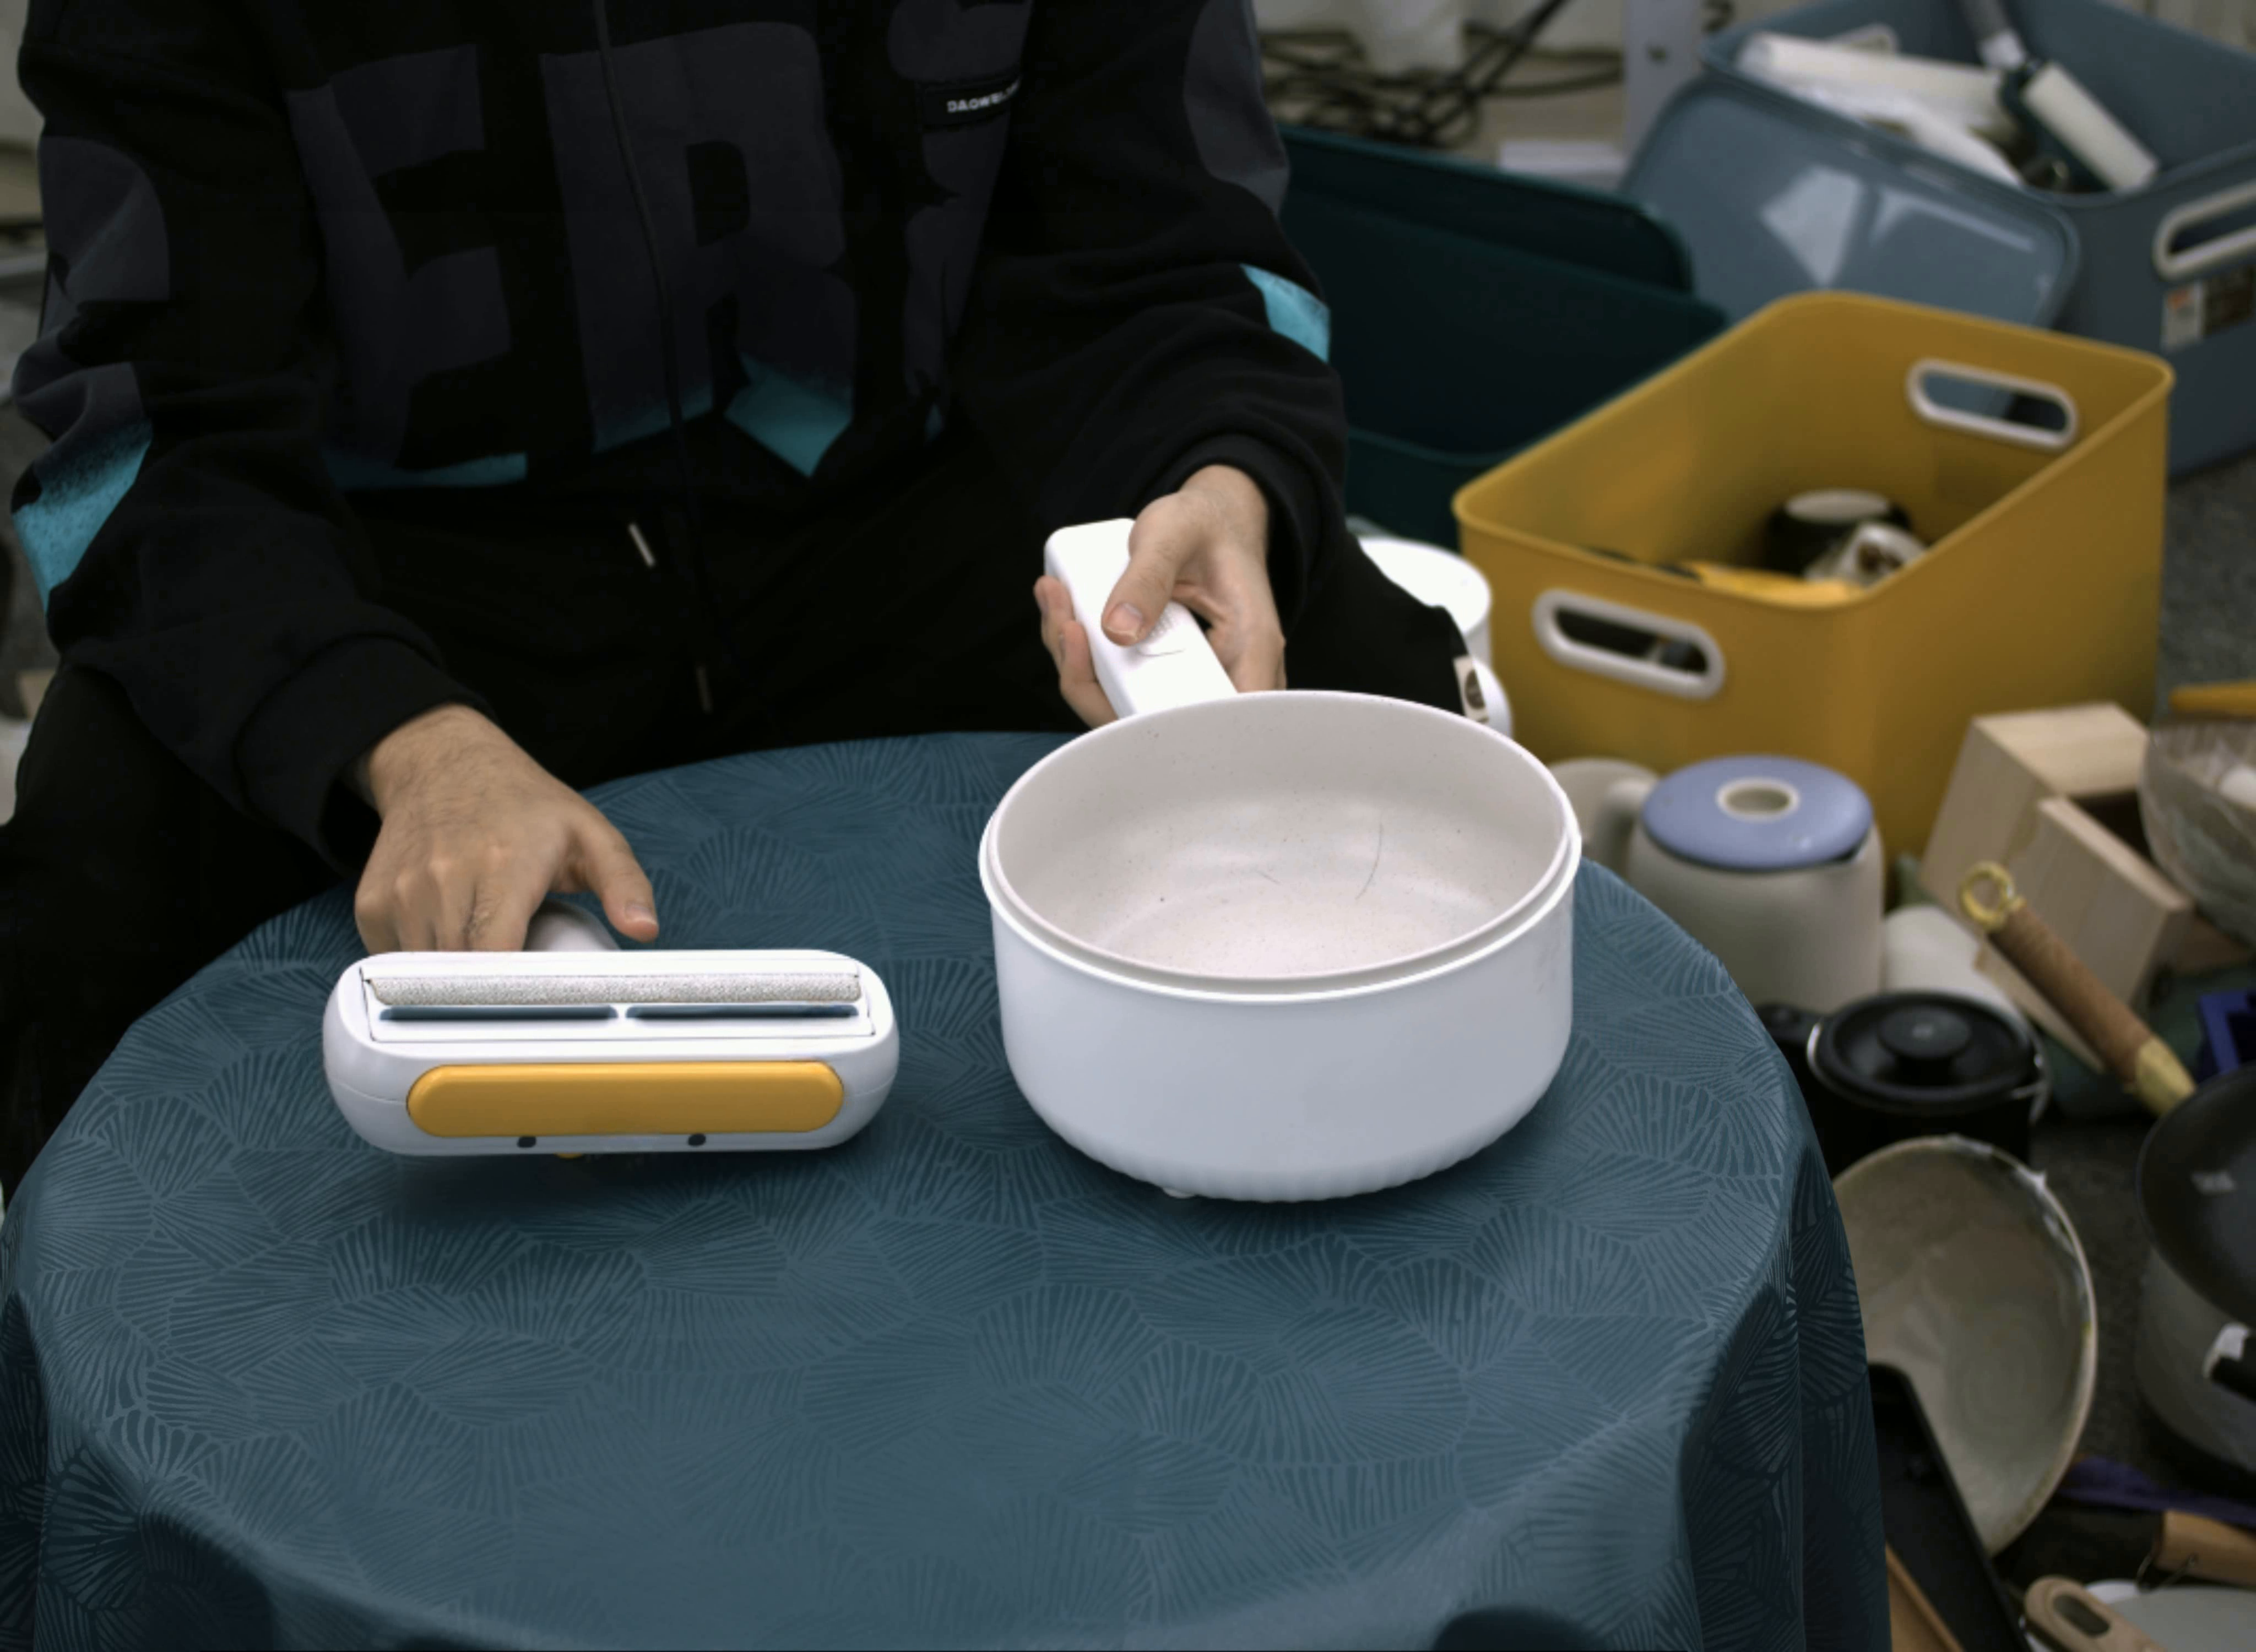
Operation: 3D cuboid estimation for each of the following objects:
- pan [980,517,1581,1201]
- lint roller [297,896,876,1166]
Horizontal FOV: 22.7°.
[{"bbox_3d":[0.033,0.009,1.959,0.201,0.101,0.358,-9,29,-12],"label":"pan"},{"bbox_3d":[-0.190,0.058,1.929,0.192,0.073,0.194,-2,25,-10],"label":"lint roller"}]
